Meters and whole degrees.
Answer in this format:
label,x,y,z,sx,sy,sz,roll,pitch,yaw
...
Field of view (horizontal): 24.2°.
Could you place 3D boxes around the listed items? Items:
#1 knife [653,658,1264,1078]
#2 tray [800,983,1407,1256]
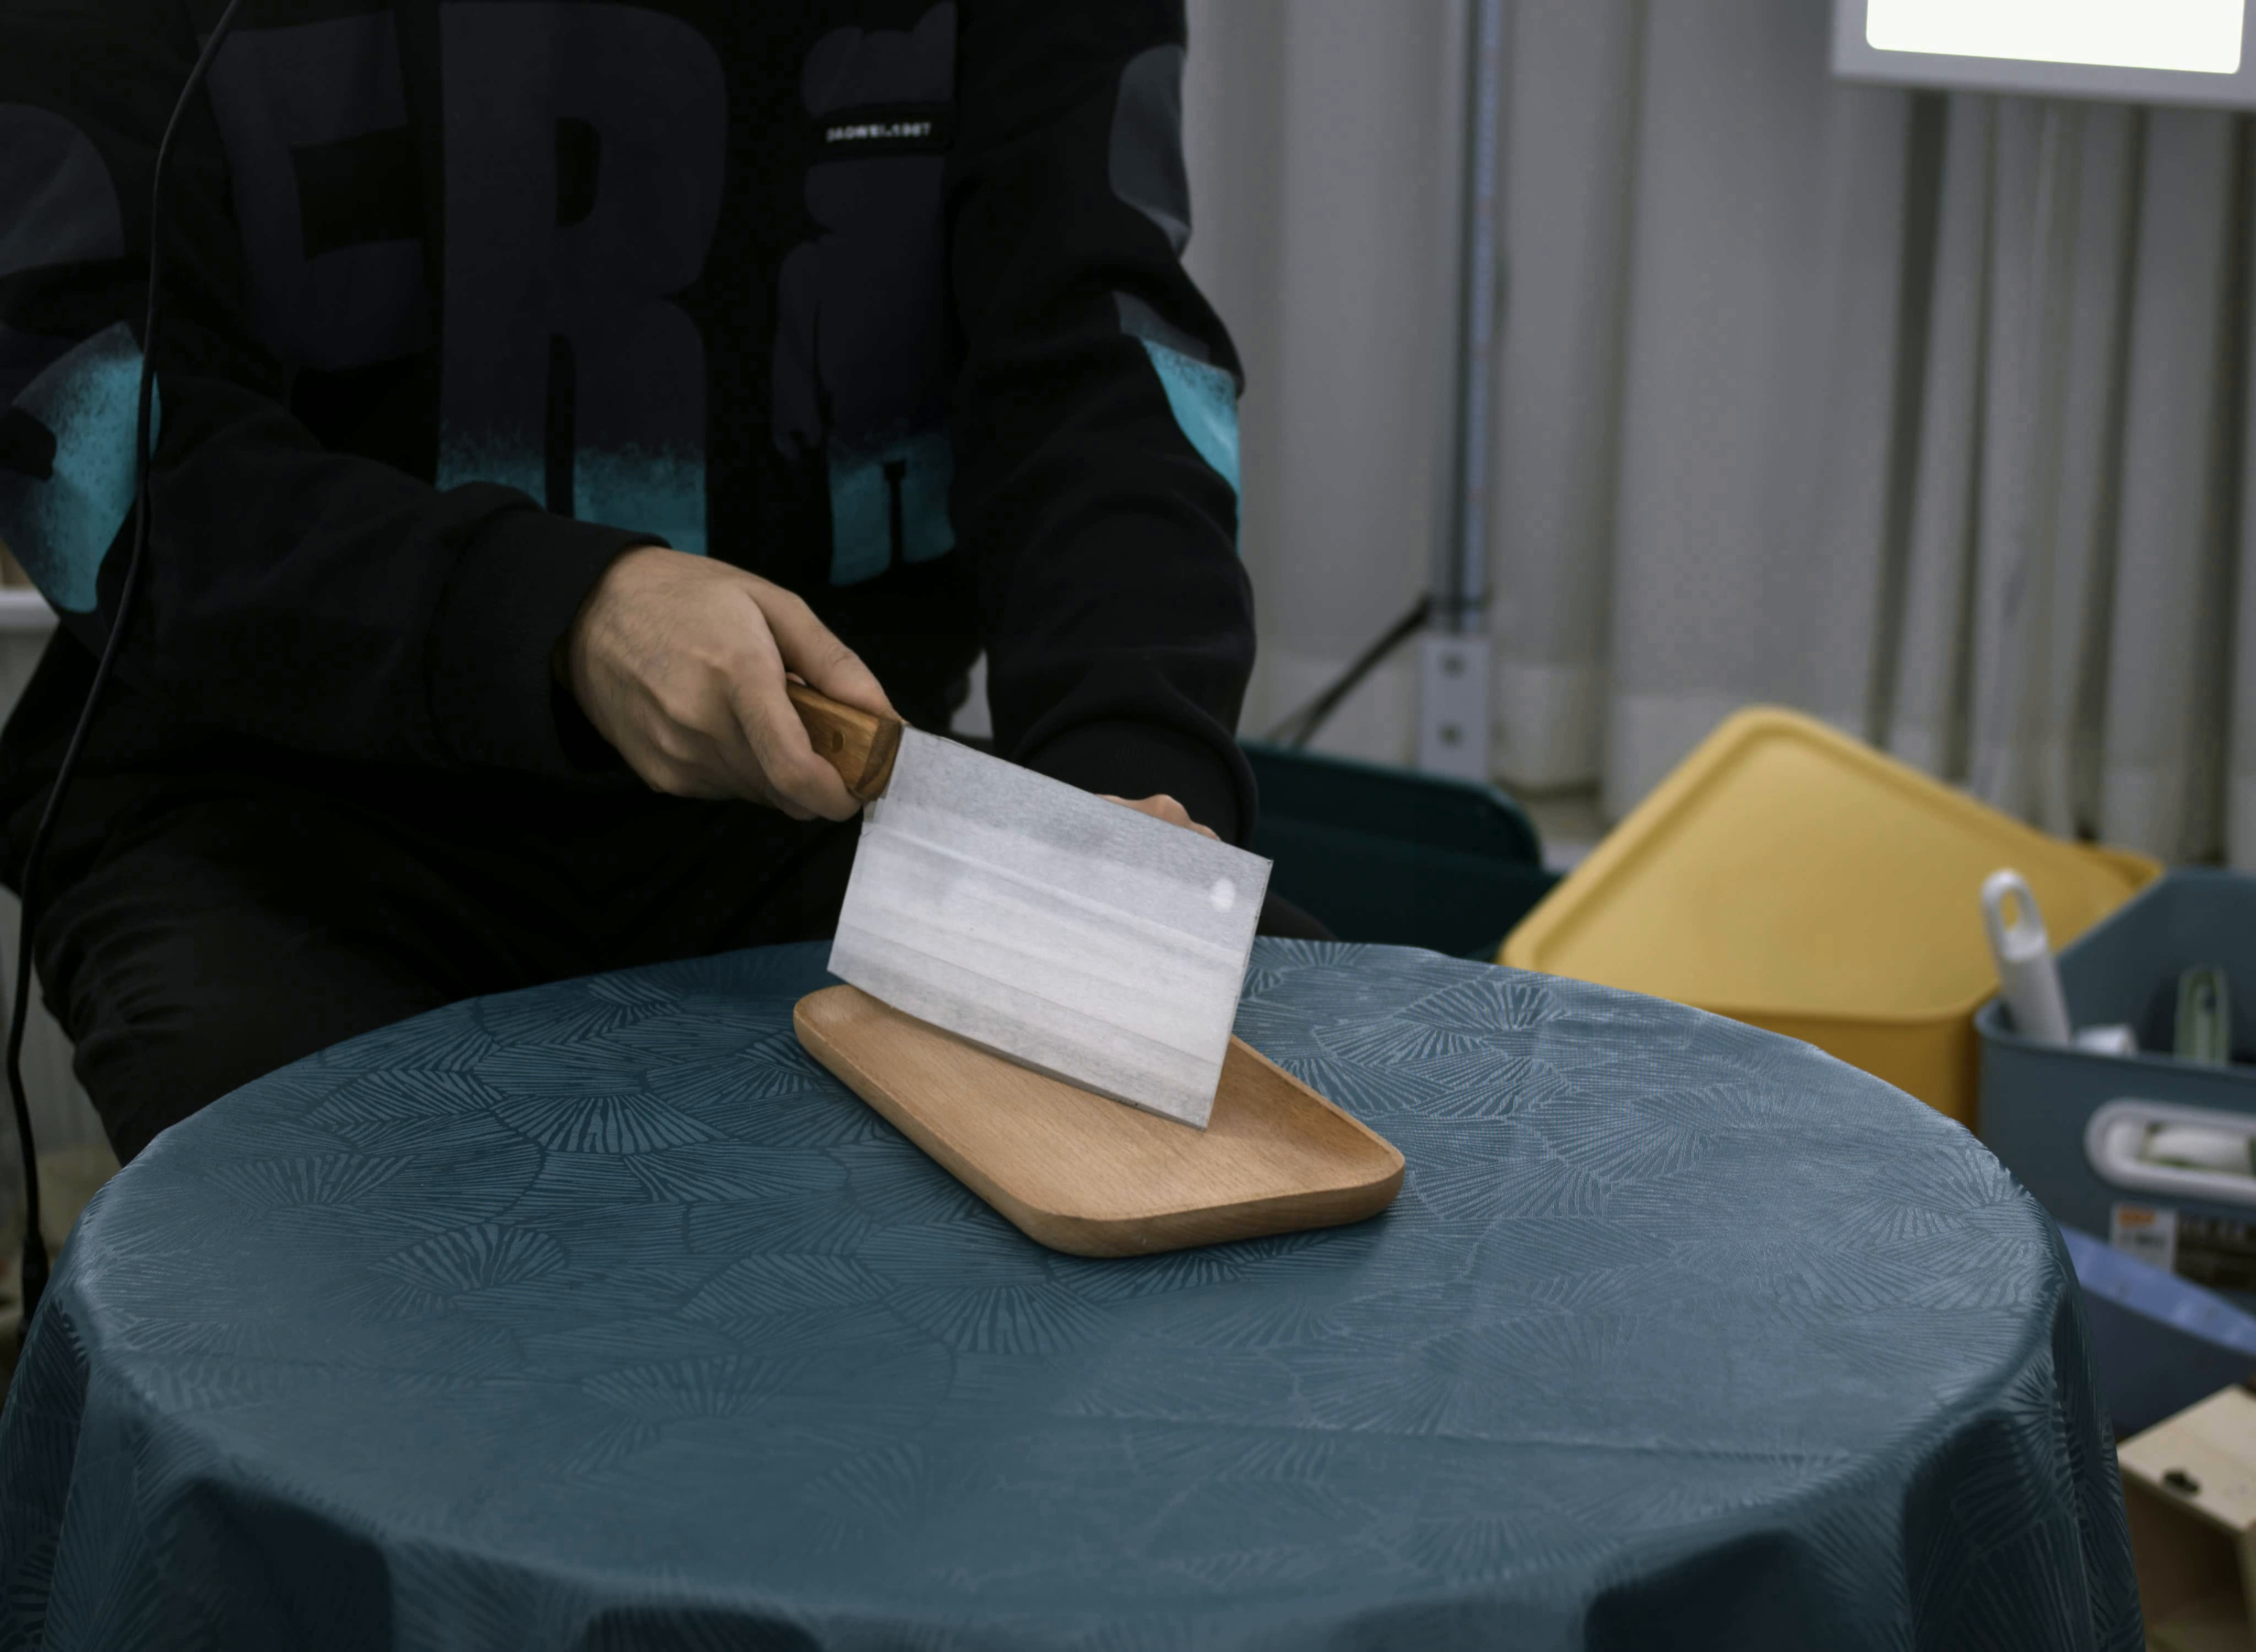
label,x,y,z,sx,sy,sz,roll,pitch,yaw
knife,-0.066,0.014,1.749,0.021,0.093,0.301,6,10,-45
tray,-0.012,0.087,1.683,0.131,0.023,0.248,-4,15,-22
